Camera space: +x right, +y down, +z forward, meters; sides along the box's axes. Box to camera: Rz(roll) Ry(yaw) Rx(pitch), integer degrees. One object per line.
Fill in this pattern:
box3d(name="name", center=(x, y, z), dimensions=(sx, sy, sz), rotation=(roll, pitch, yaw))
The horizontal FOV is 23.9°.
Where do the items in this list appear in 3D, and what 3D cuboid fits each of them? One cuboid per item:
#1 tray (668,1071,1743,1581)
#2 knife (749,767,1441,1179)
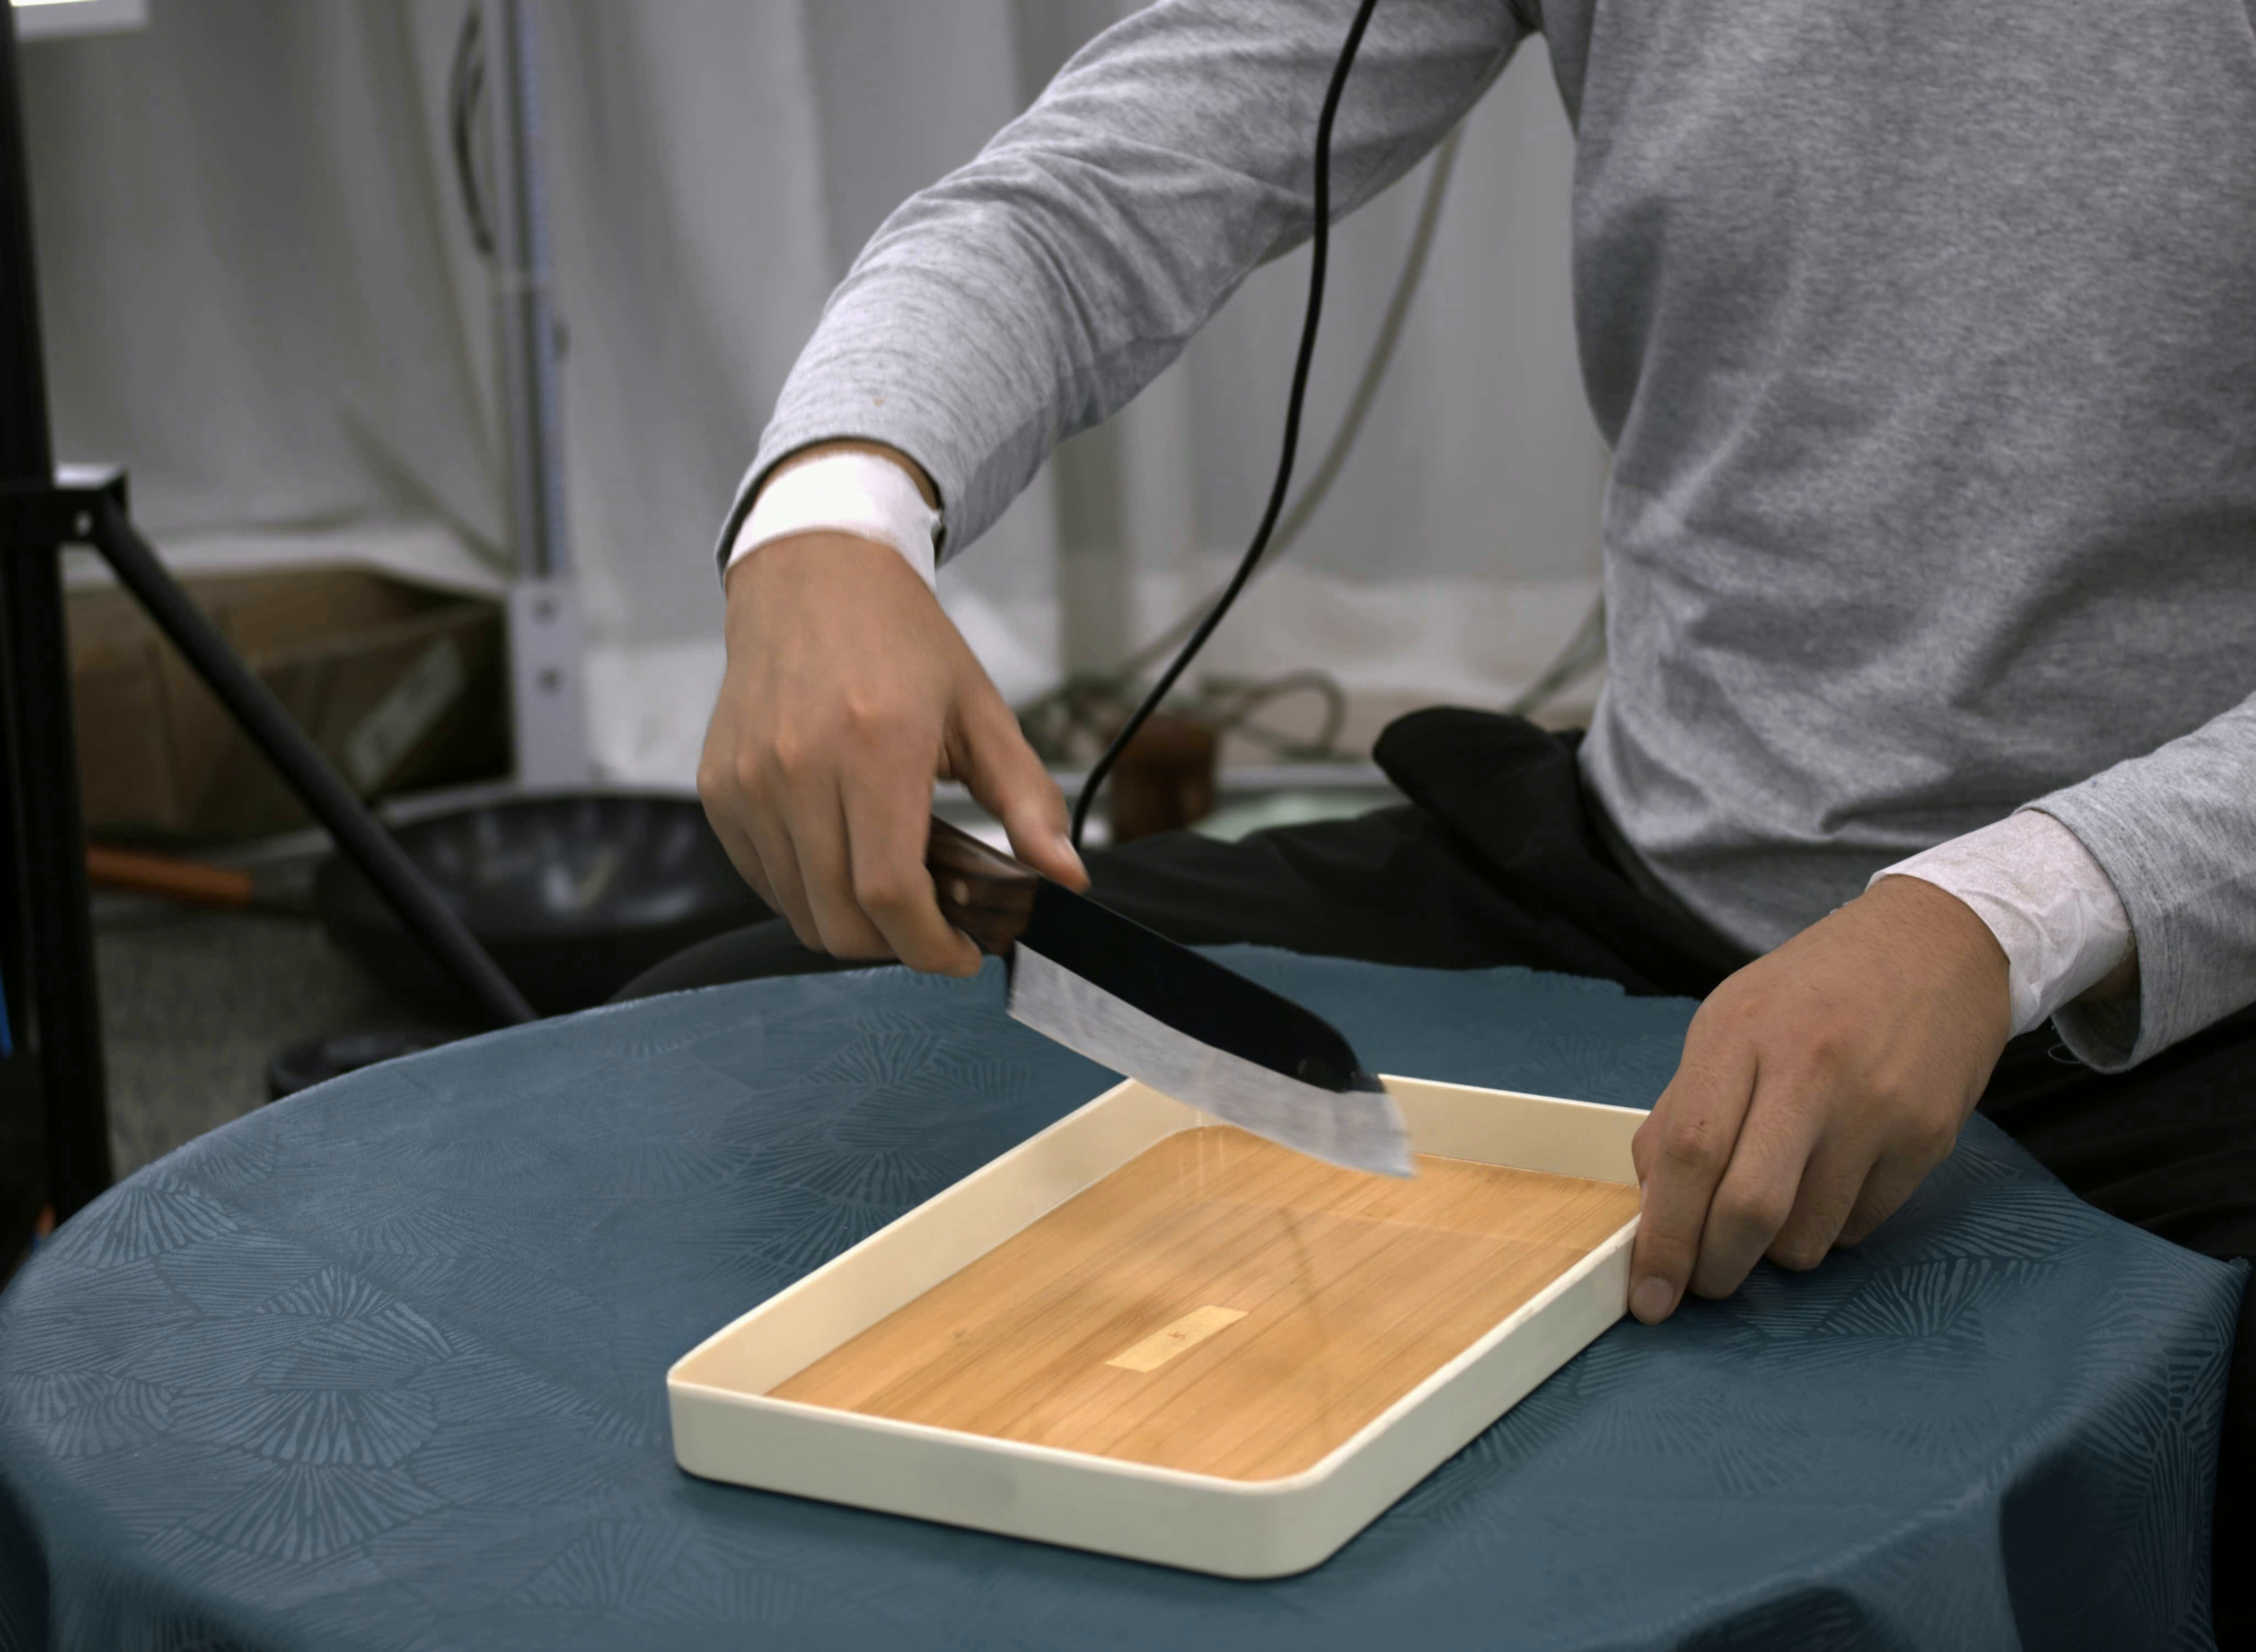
box3d(name="tray", center=(0.029, 0.127, 1.442), dimensions=(0.195, 0.027, 0.295), rotation=(7, 18, 29))
box3d(name="knife", center=(-0.013, 0.039, 1.493), dimensions=(0.019, 0.050, 0.296), rotation=(-10, 26, -40))
